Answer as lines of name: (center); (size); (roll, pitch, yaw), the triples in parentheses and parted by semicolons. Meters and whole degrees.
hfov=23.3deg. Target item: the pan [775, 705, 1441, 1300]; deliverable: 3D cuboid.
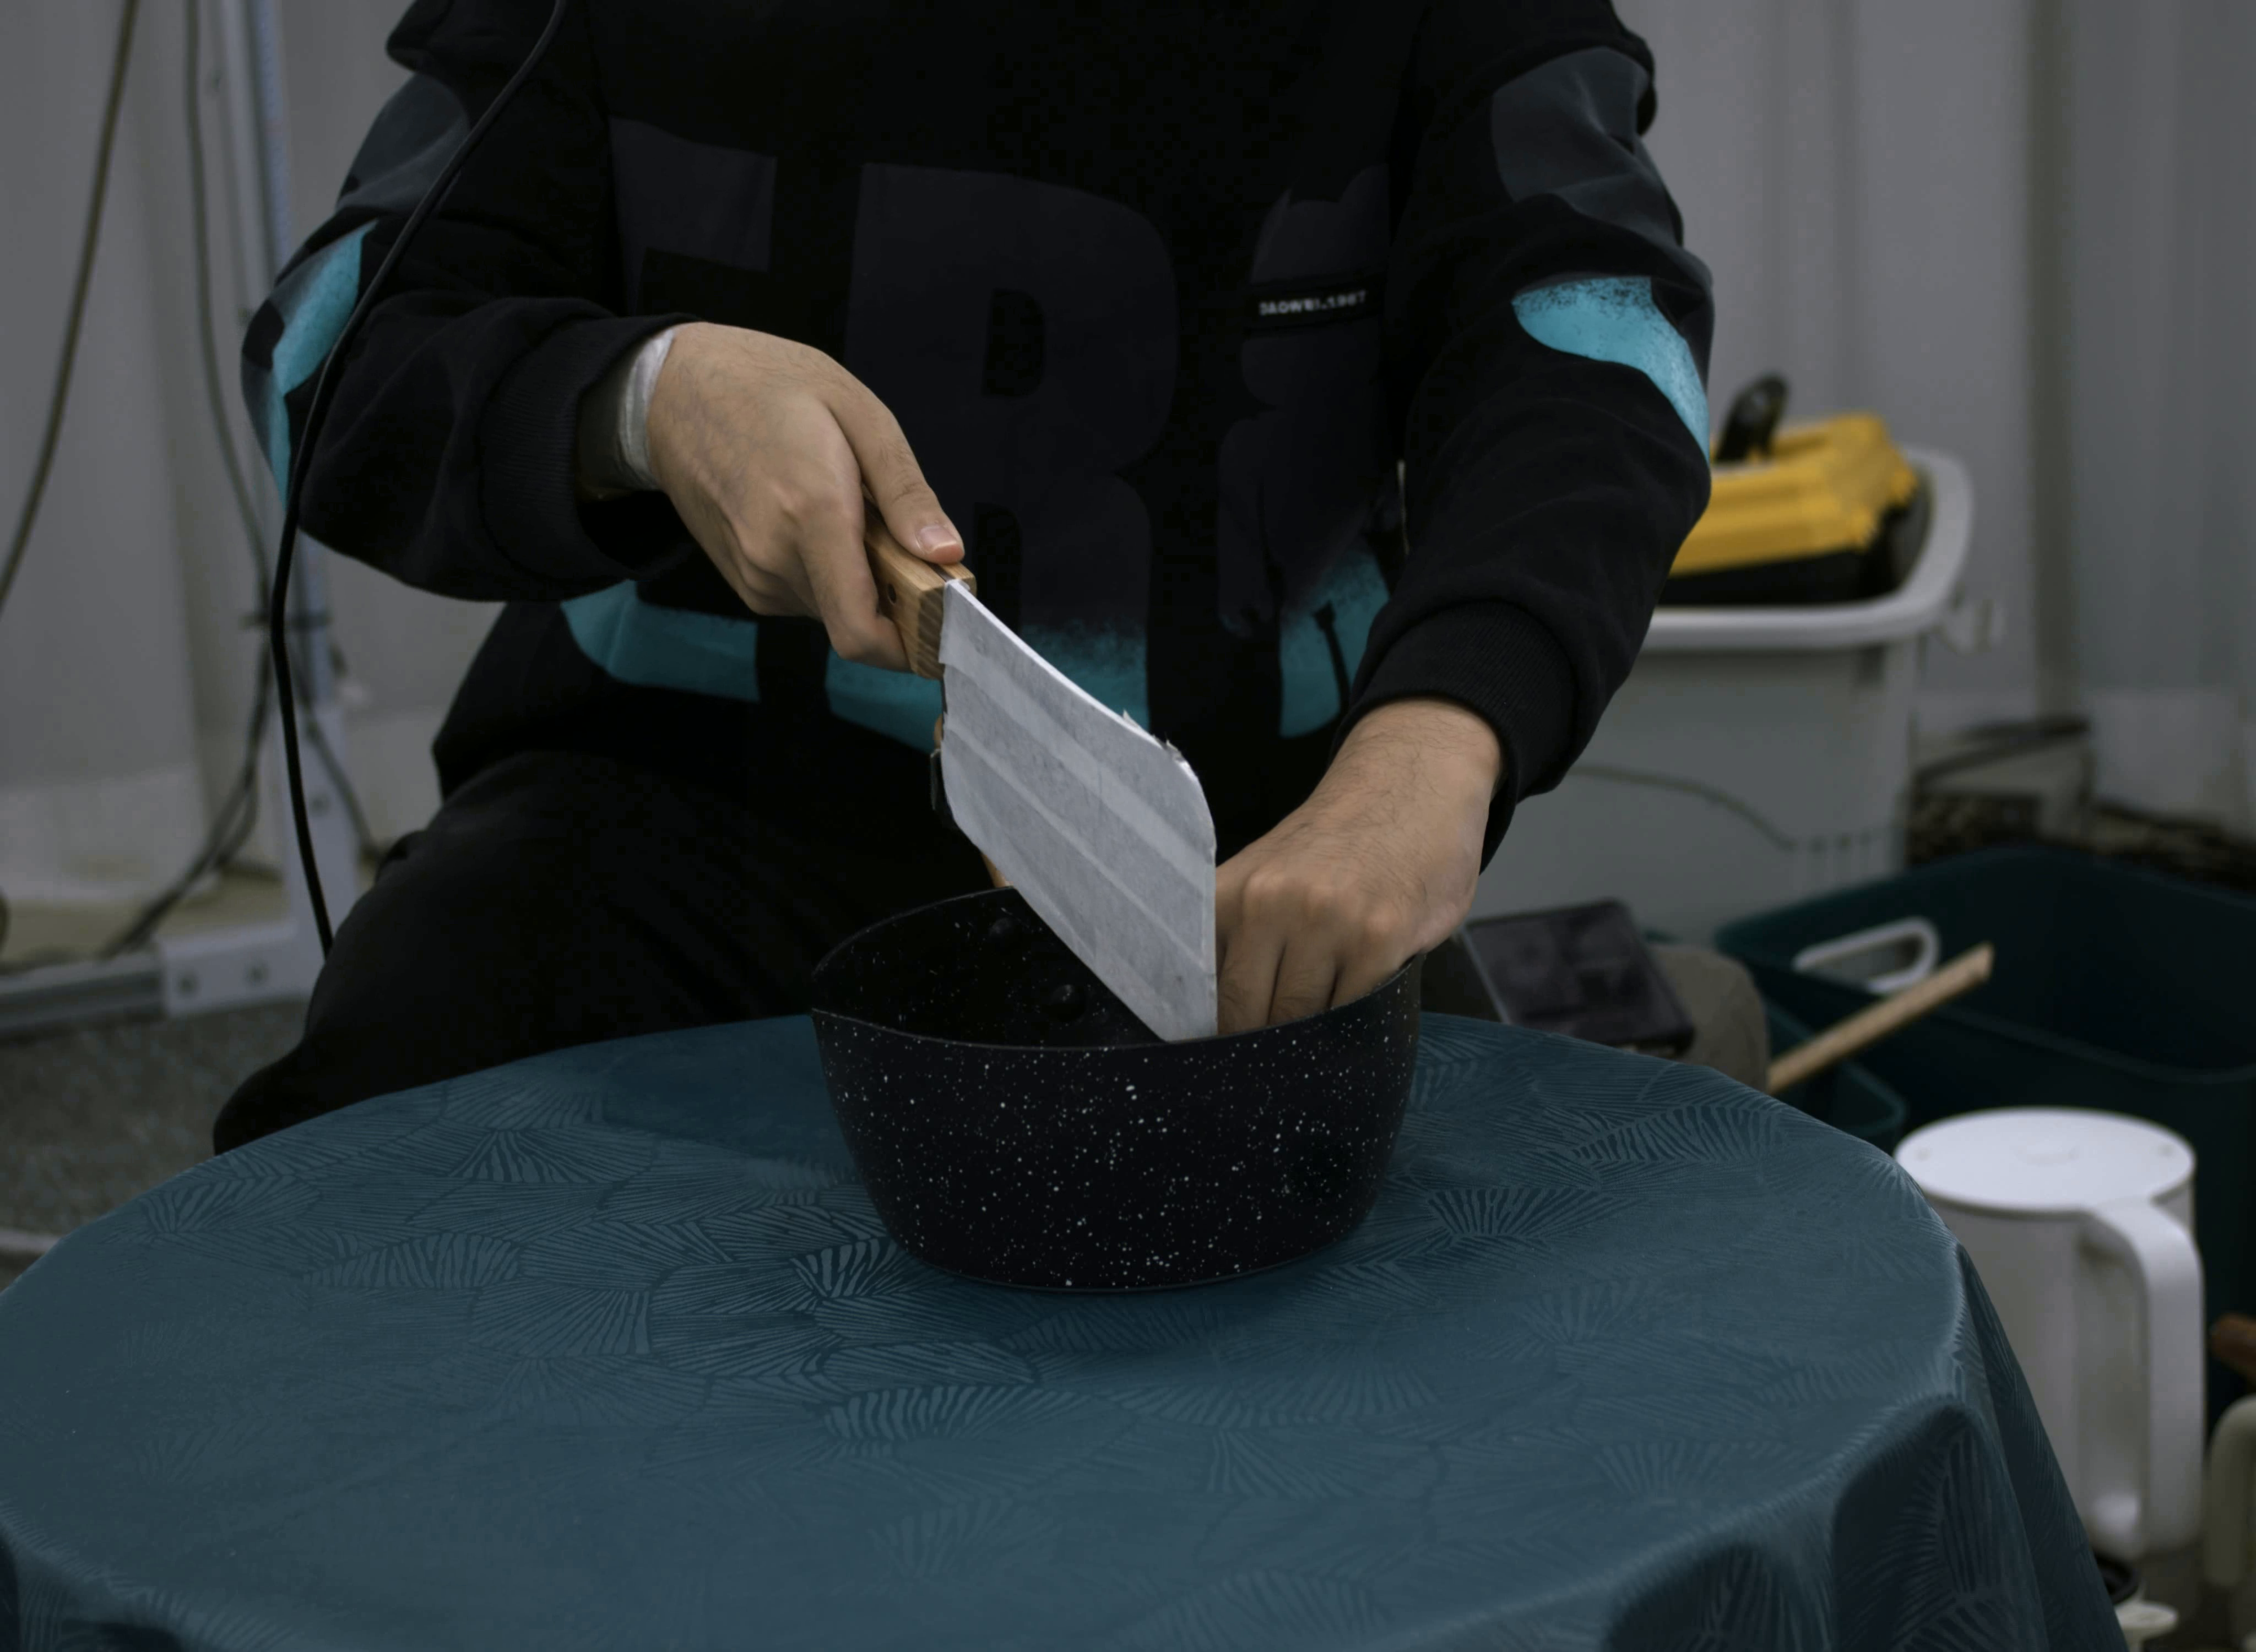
pan: (-0.021, 0.049, 1.754); (0.206, 0.108, 0.346); (-7, 17, -12)

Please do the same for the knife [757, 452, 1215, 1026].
knife: (-0.044, -0.038, 1.712); (0.021, 0.113, 0.319); (-12, 35, -24)
